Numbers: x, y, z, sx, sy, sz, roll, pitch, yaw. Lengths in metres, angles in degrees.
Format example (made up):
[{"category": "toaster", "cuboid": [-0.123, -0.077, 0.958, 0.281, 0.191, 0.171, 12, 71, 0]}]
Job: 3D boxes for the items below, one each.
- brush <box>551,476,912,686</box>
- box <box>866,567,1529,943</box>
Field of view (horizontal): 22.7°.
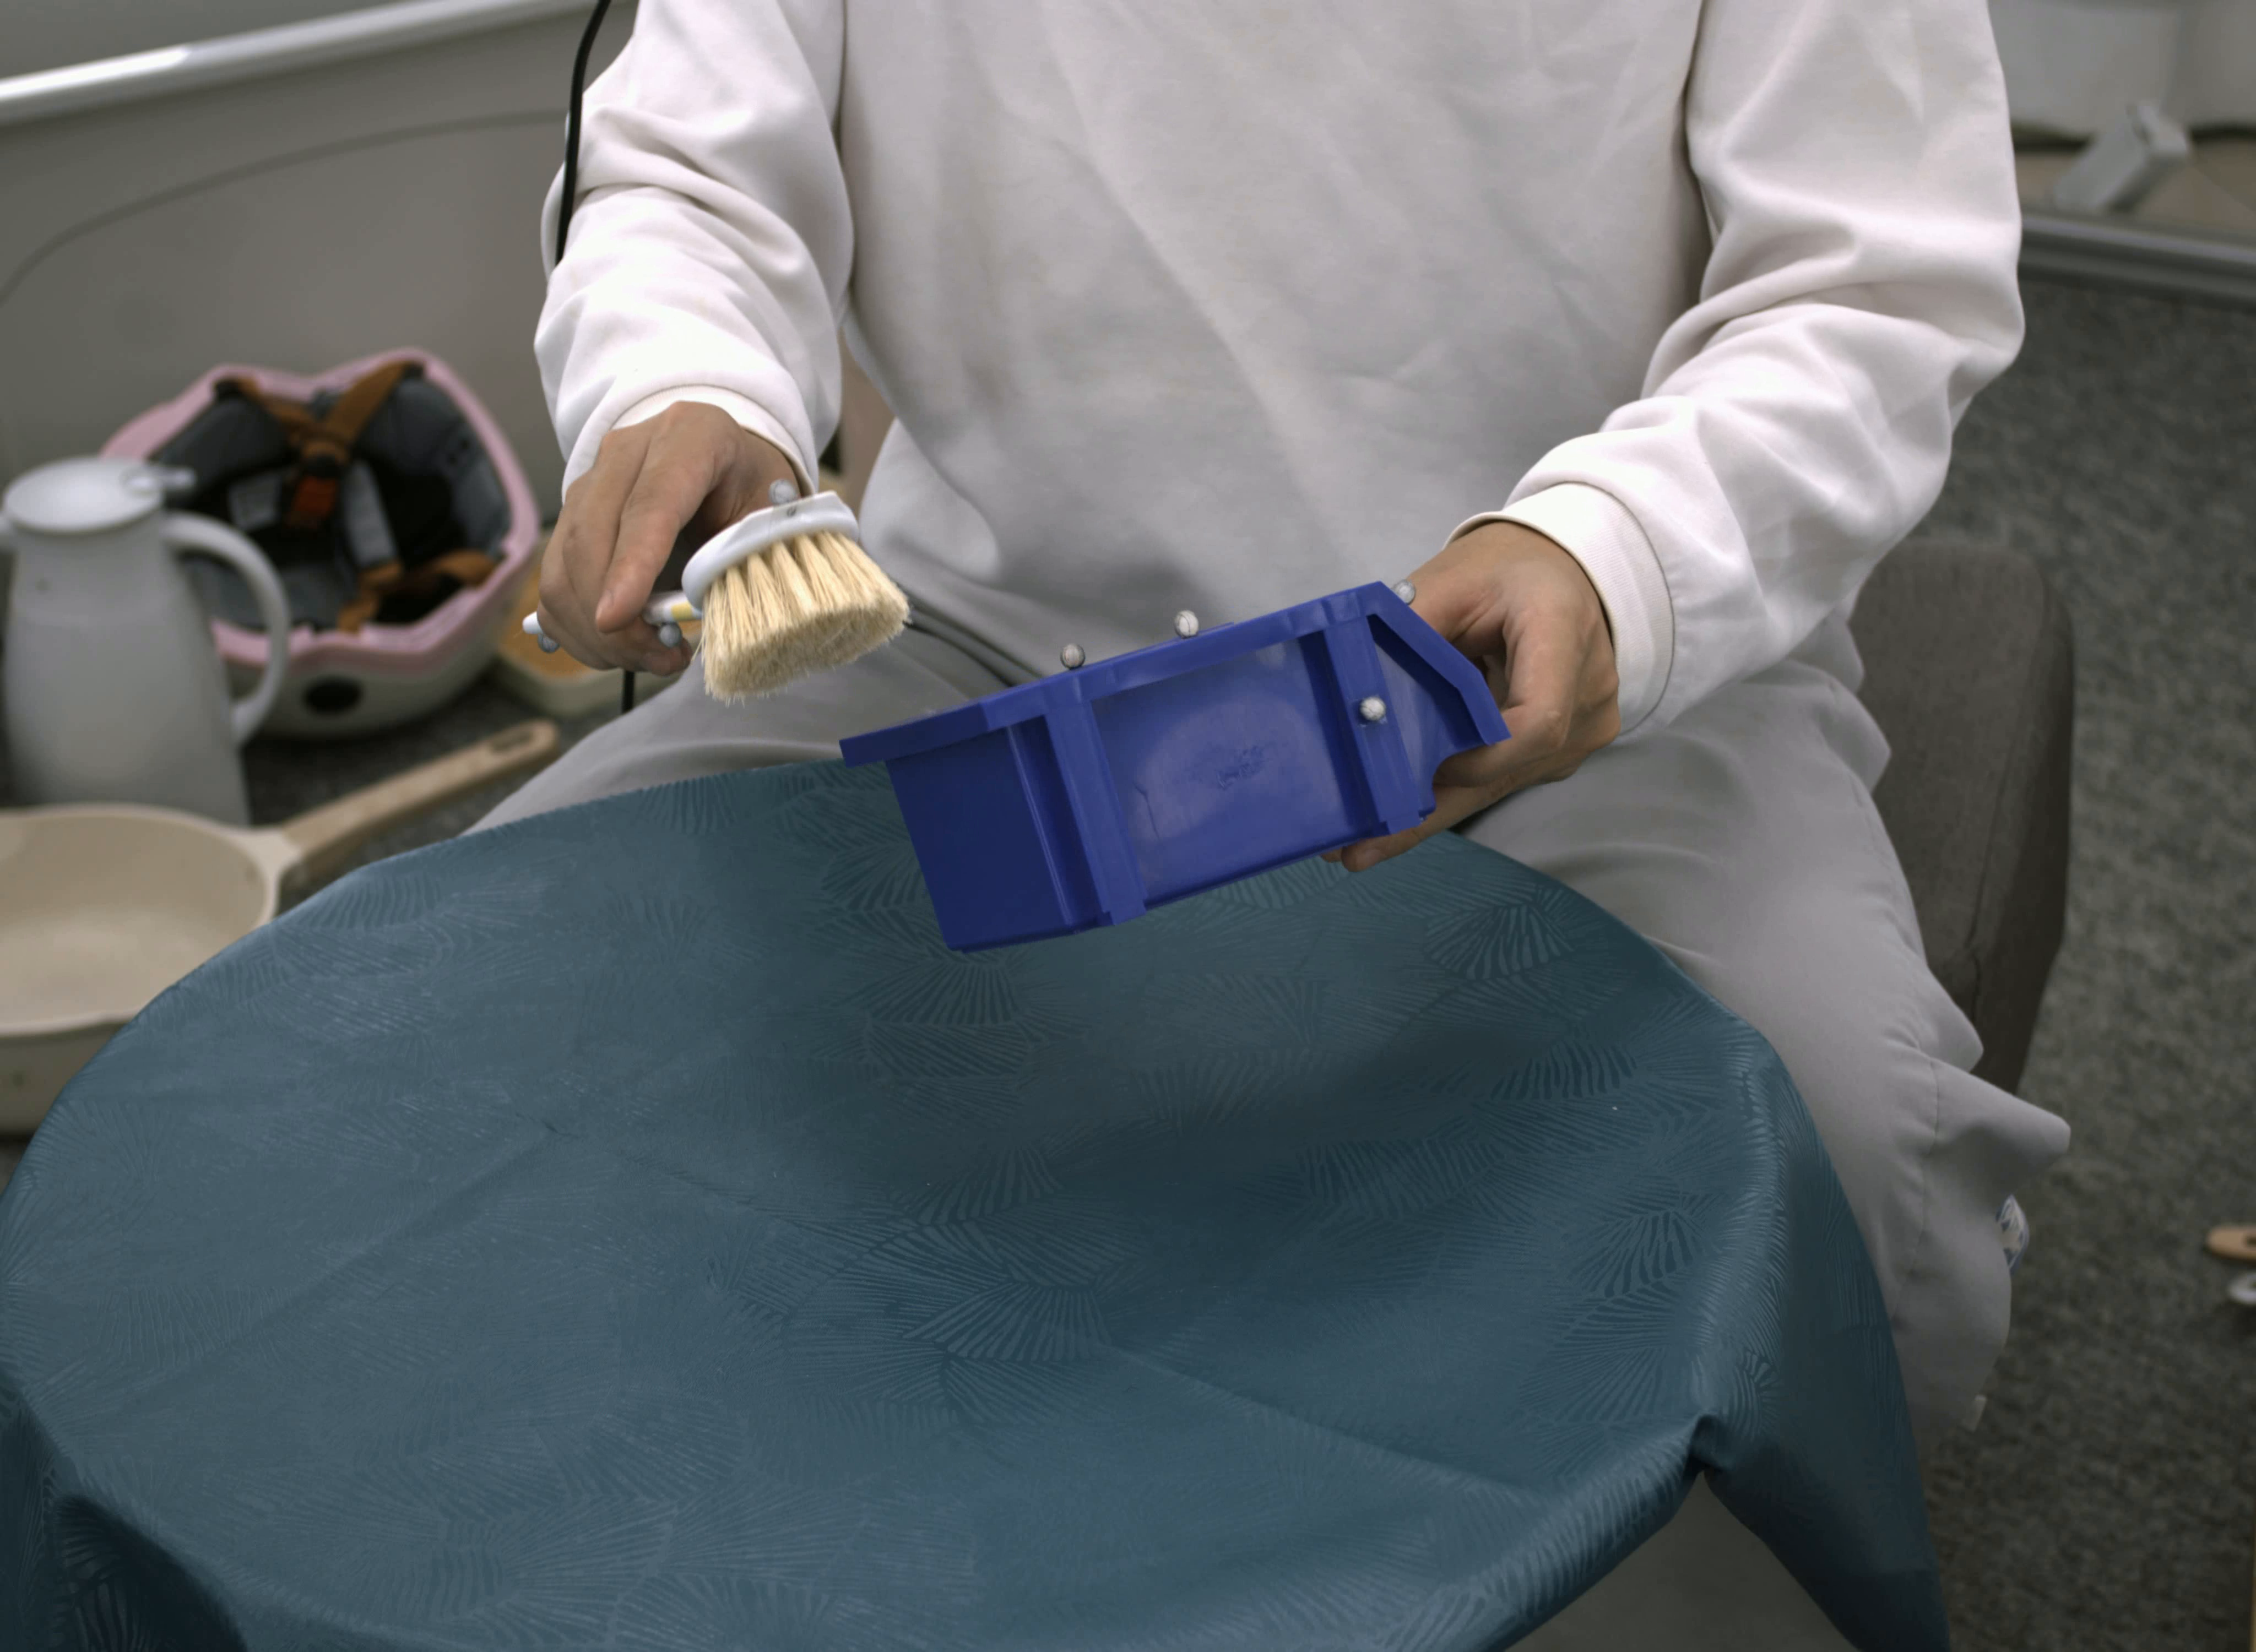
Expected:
[{"category": "brush", "cuboid": [-0.141, -0.060, 1.876, 0.068, 0.056, 0.263, -4, -9, -23]}, {"category": "box", "cuboid": [0.023, -0.024, 1.858, 0.180, 0.082, 0.123, -19, 2, -26]}]
